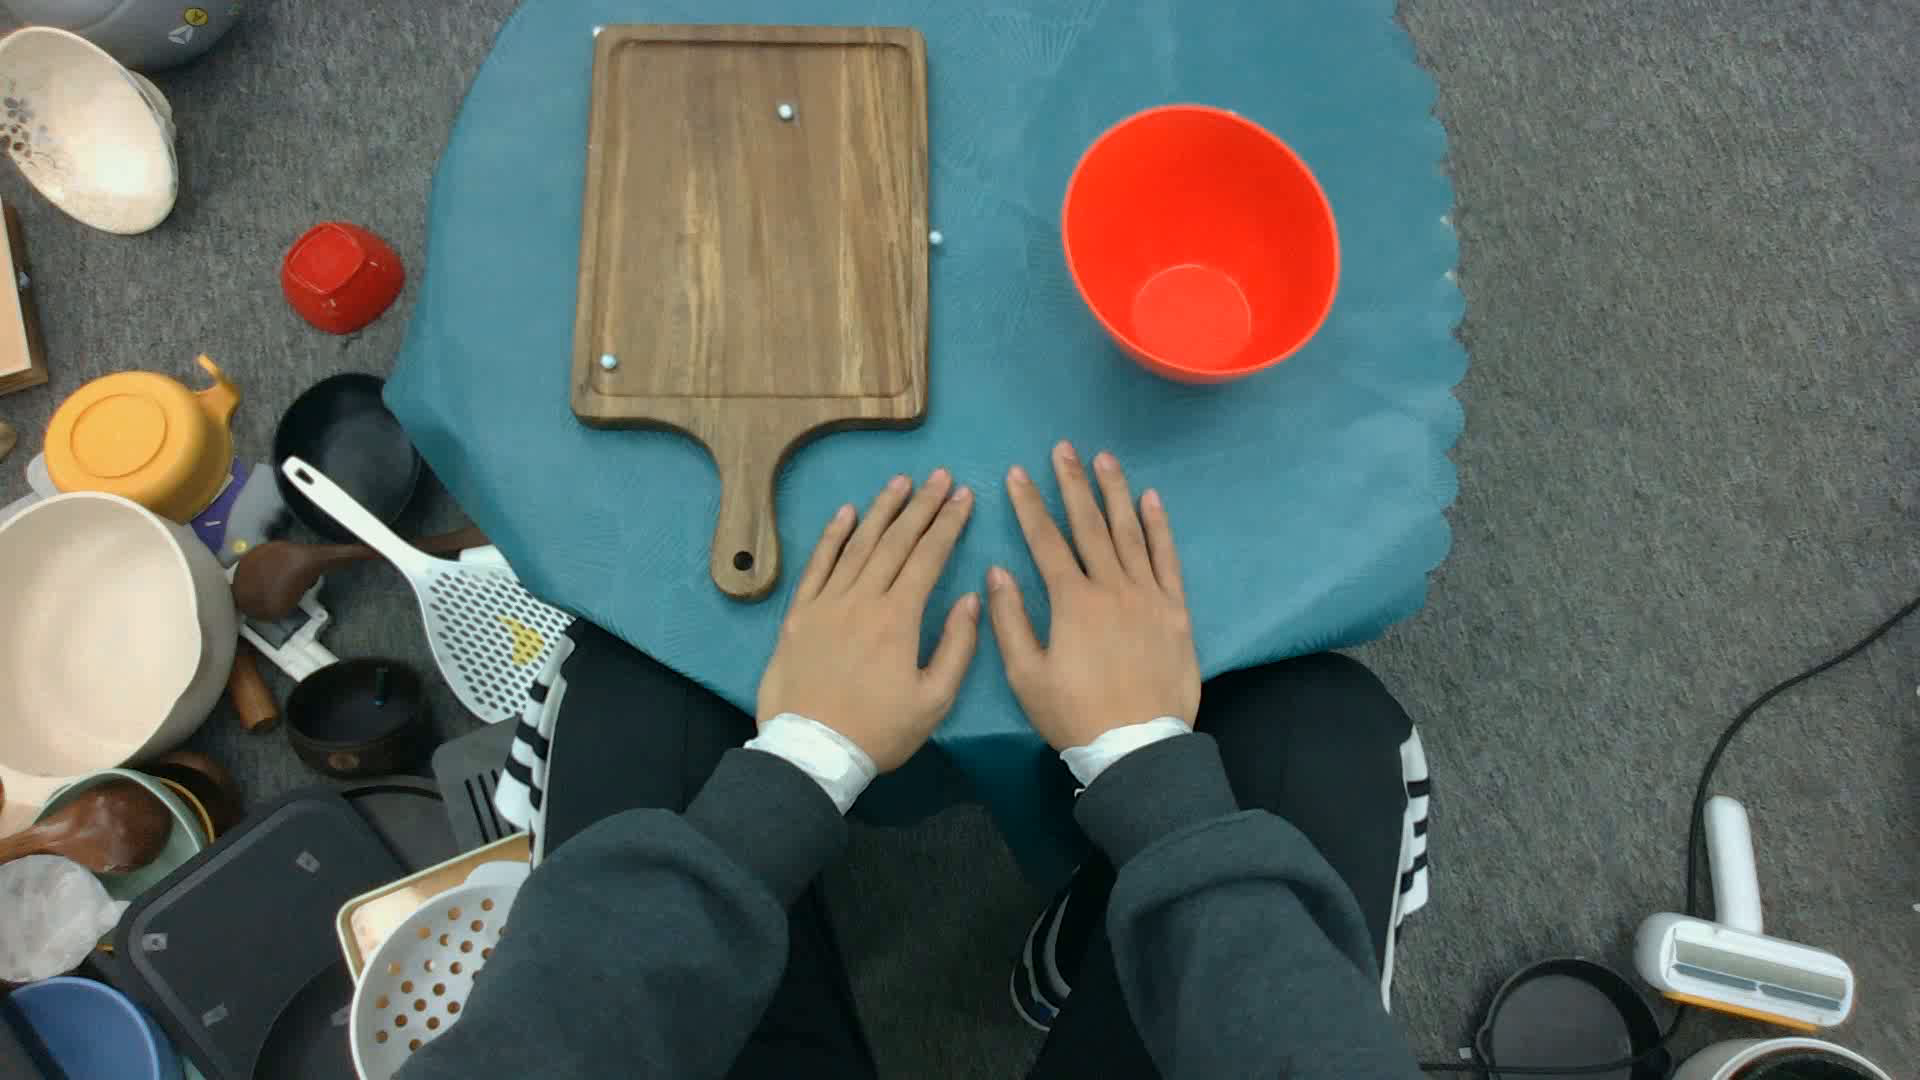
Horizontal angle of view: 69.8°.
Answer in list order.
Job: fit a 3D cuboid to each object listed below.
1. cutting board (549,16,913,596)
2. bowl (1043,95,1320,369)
[{"bbox_3d":[-0.128,-0.141,0.777,0.201,0.023,0.353,-1,74,-2],"label":"cutting board"},{"bbox_3d":[0.114,-0.152,0.748,0.148,0.104,0.148,1,73,-2],"label":"bowl"}]
